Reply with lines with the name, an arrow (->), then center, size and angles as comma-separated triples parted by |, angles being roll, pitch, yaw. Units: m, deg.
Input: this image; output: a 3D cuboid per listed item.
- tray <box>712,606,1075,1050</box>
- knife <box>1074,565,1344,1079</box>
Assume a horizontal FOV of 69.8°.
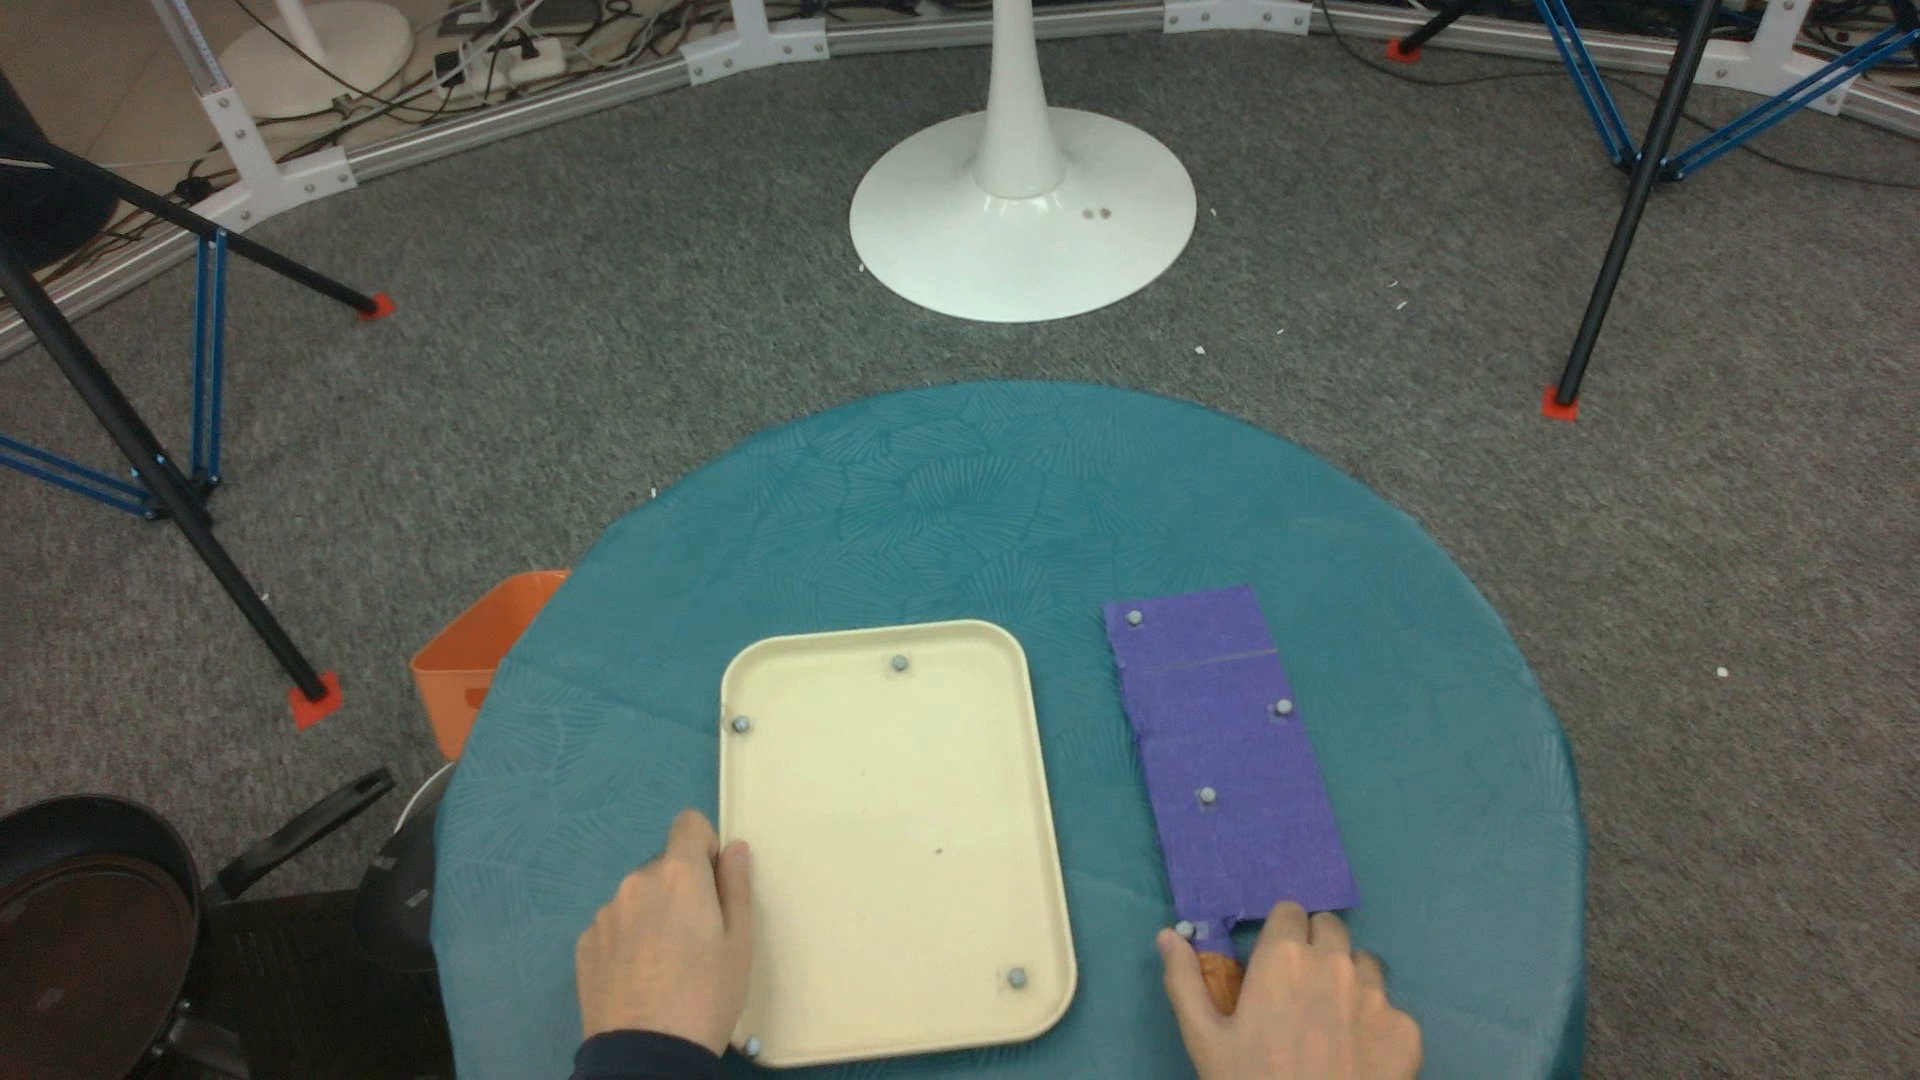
tray -> -0.041, 0.139, 0.711 | 0.171, 0.017, 0.240 | -5, 50, -5
knife -> 0.138, 0.134, 0.701 | 0.104, 0.032, 0.316 | -9, 50, -2
